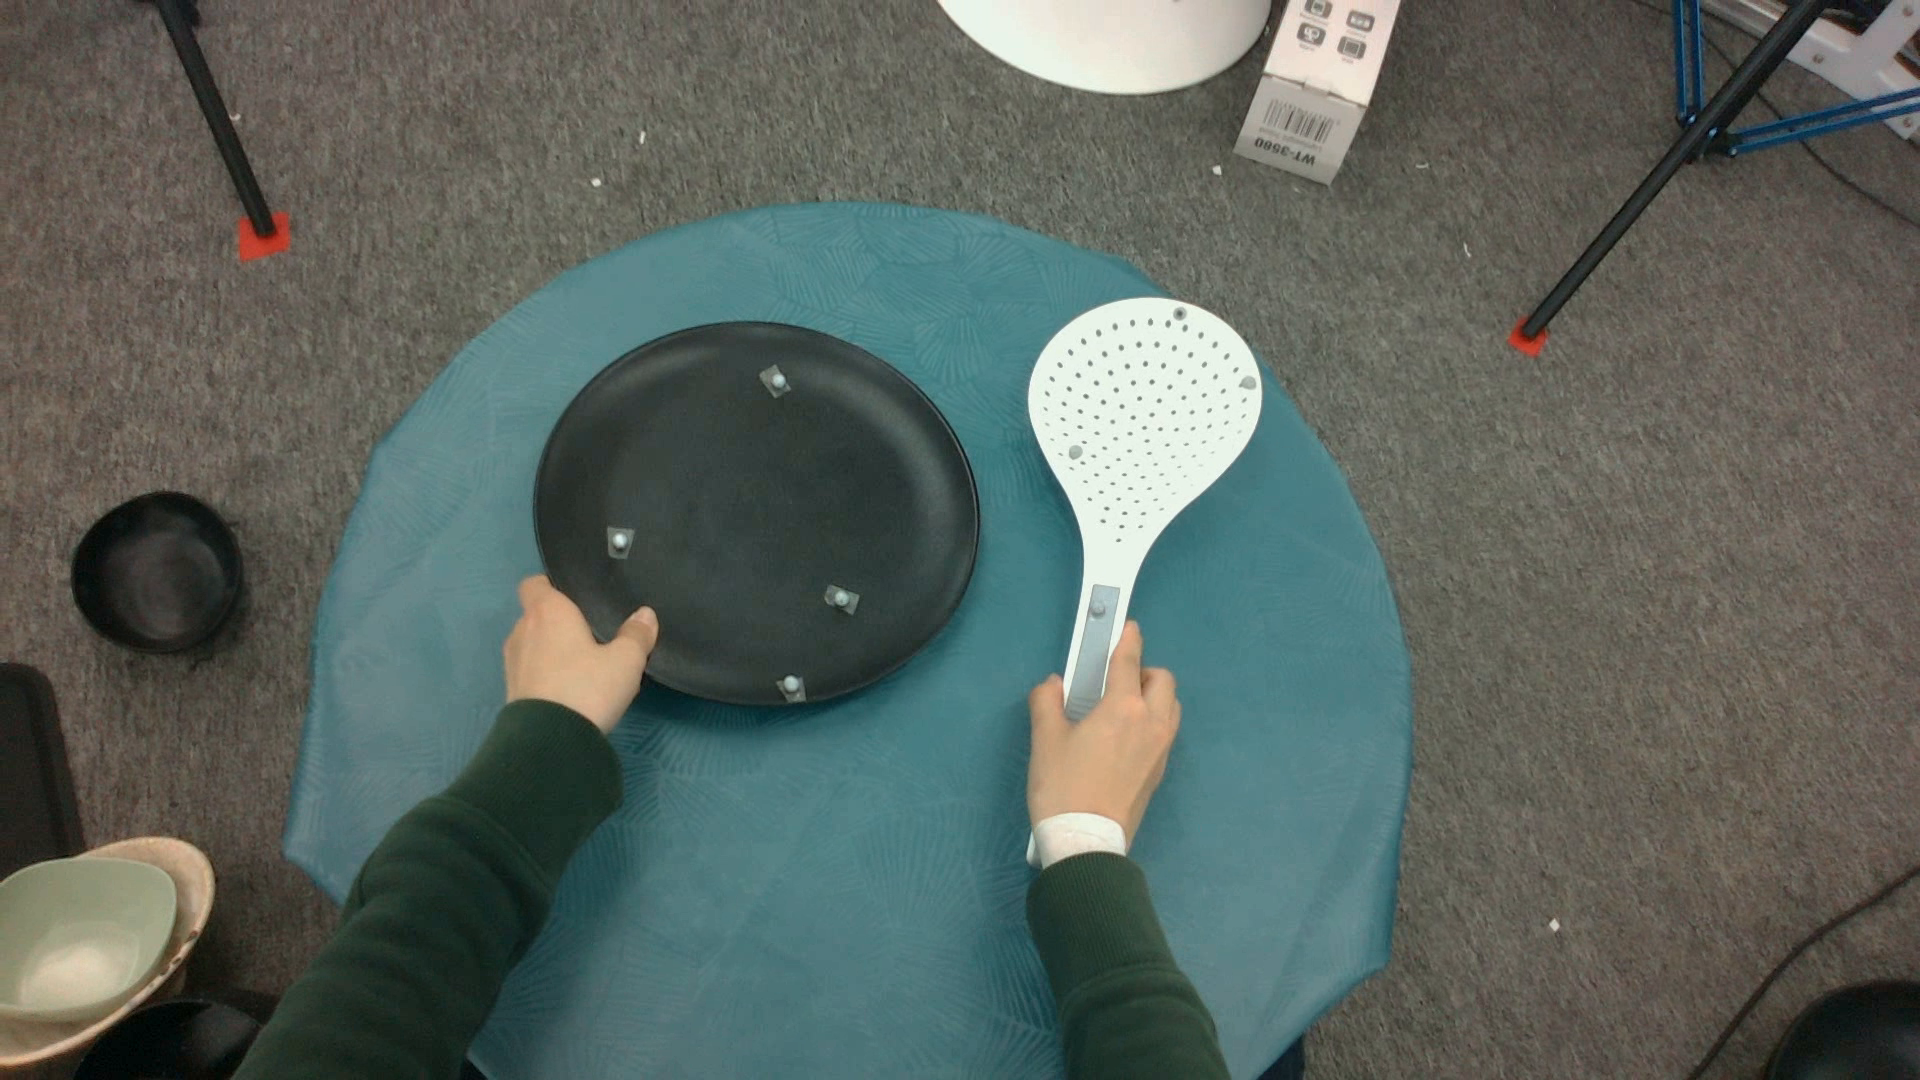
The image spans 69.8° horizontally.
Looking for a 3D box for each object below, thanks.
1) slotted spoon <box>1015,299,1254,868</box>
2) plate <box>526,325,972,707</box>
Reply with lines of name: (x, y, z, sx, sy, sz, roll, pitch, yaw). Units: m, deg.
slotted spoon: (0.082, 0.012, 0.775, 0.136, 0.045, 0.351, 9, 60, 12)
plate: (-0.114, -0.017, 0.768, 0.244, 0.023, 0.245, 5, 60, -9)
